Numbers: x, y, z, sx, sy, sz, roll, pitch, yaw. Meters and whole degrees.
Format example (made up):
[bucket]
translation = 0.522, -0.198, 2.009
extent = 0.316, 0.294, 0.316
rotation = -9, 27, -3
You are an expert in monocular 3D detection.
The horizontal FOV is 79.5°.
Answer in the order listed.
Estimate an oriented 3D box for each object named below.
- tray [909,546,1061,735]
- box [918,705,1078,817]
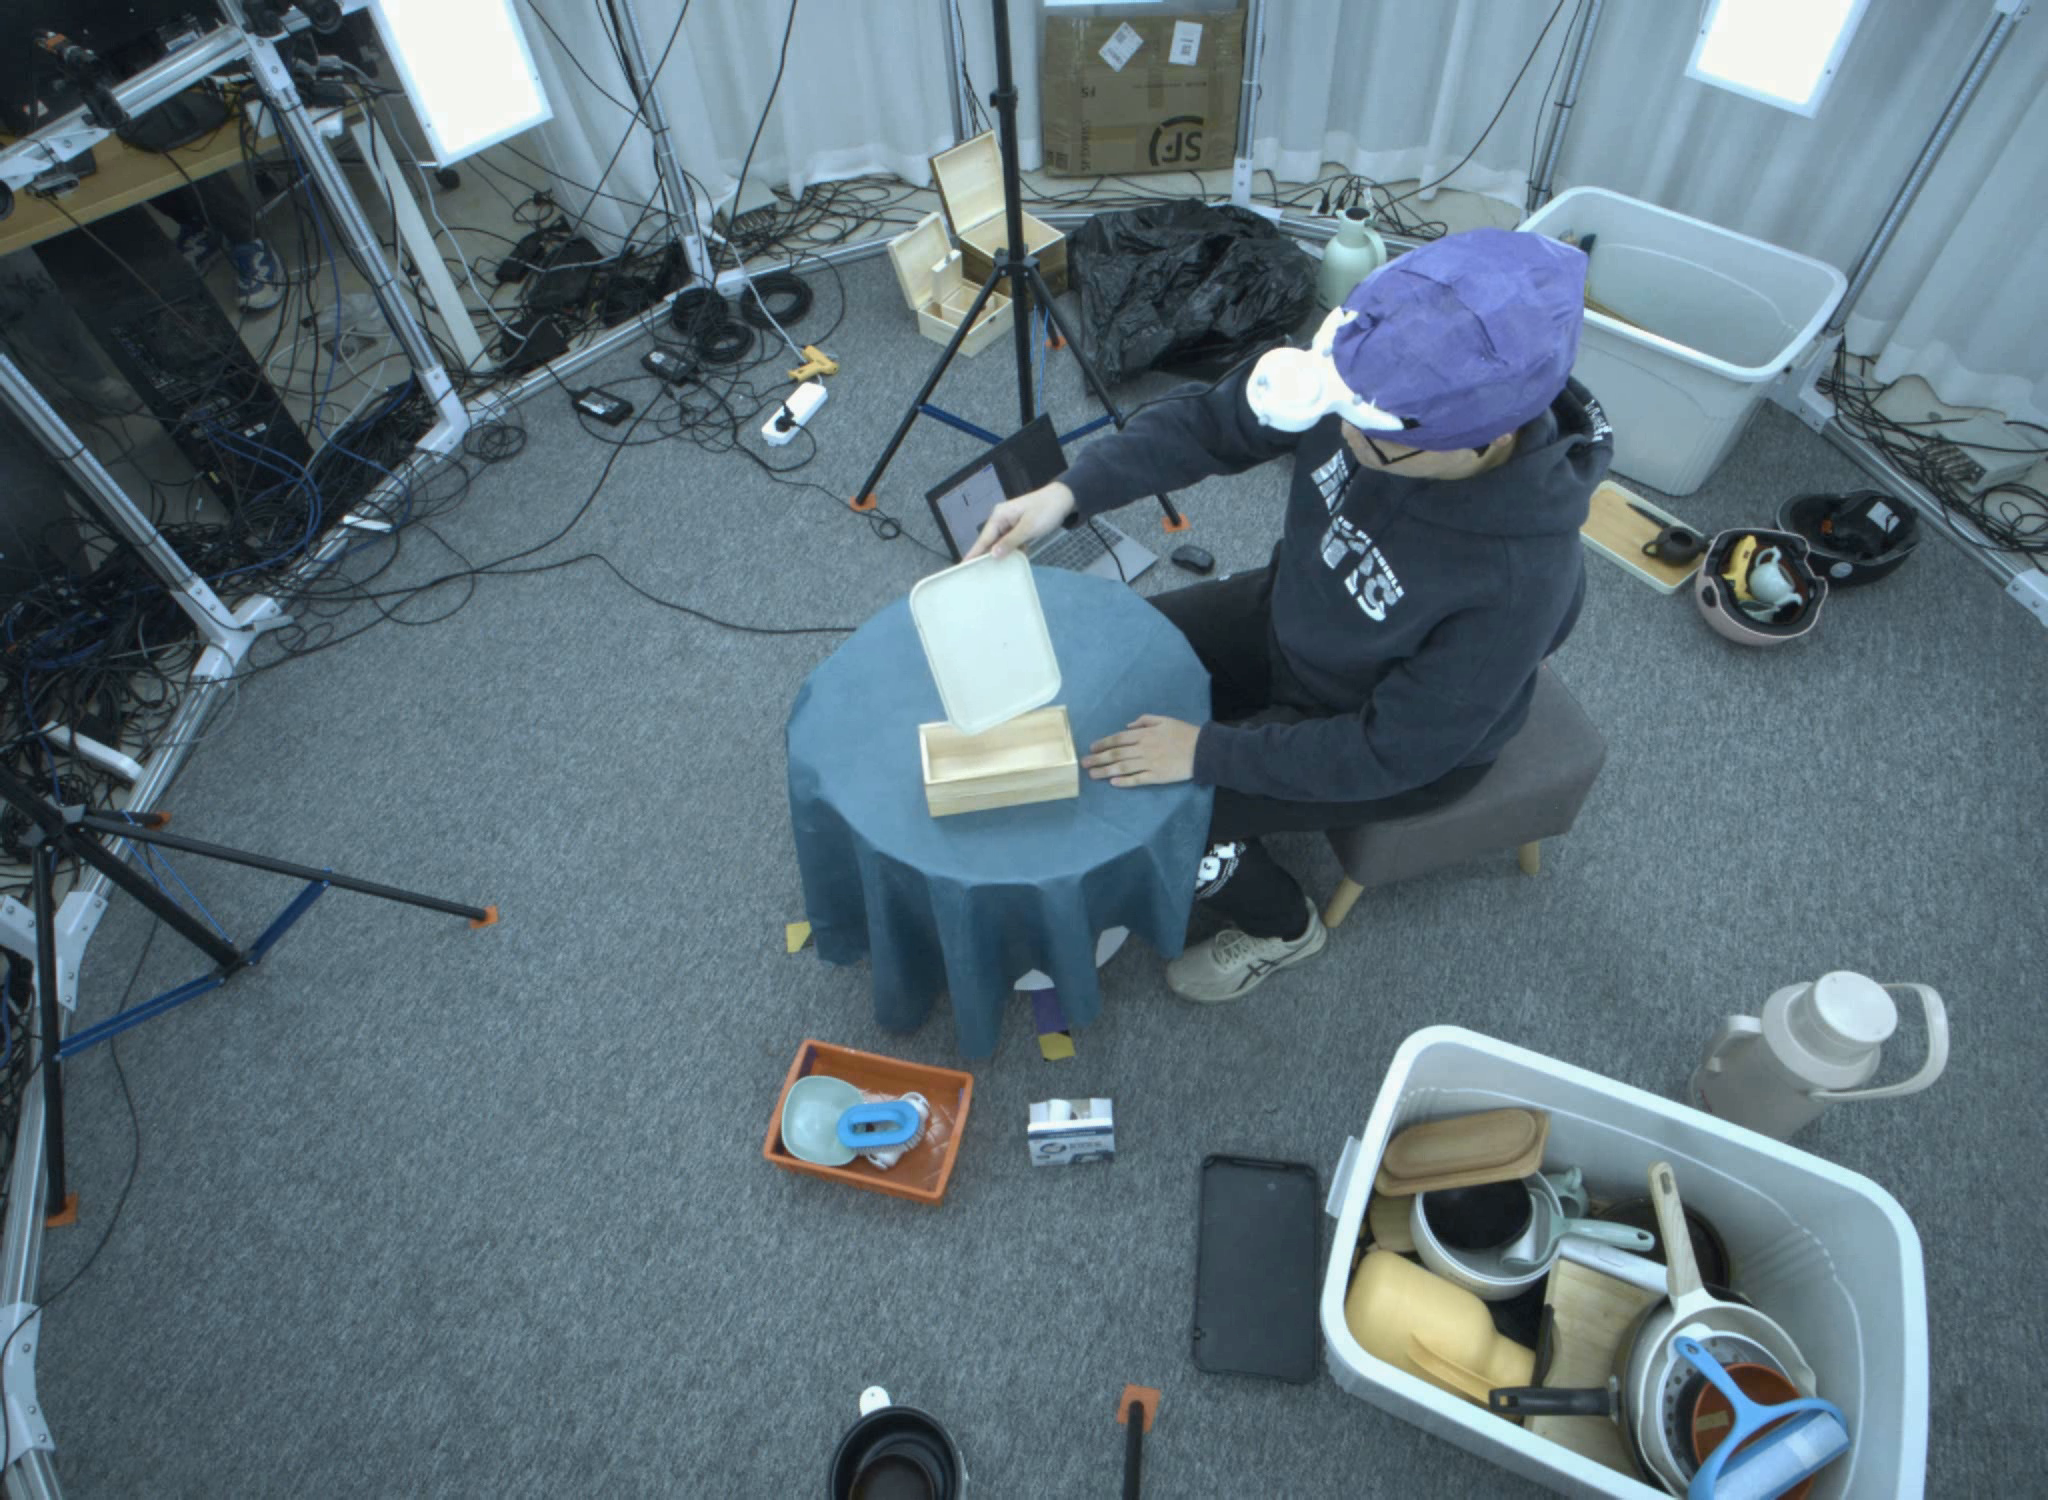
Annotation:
[tray]
translation = -0.051, -0.145, 1.644
extent = 0.172, 0.243, 0.017
rotation = -25, 33, -13
[box]
translation = -0.036, 0.015, 1.729
extent = 0.212, 0.081, 0.106
rotation = -8, 55, -4
